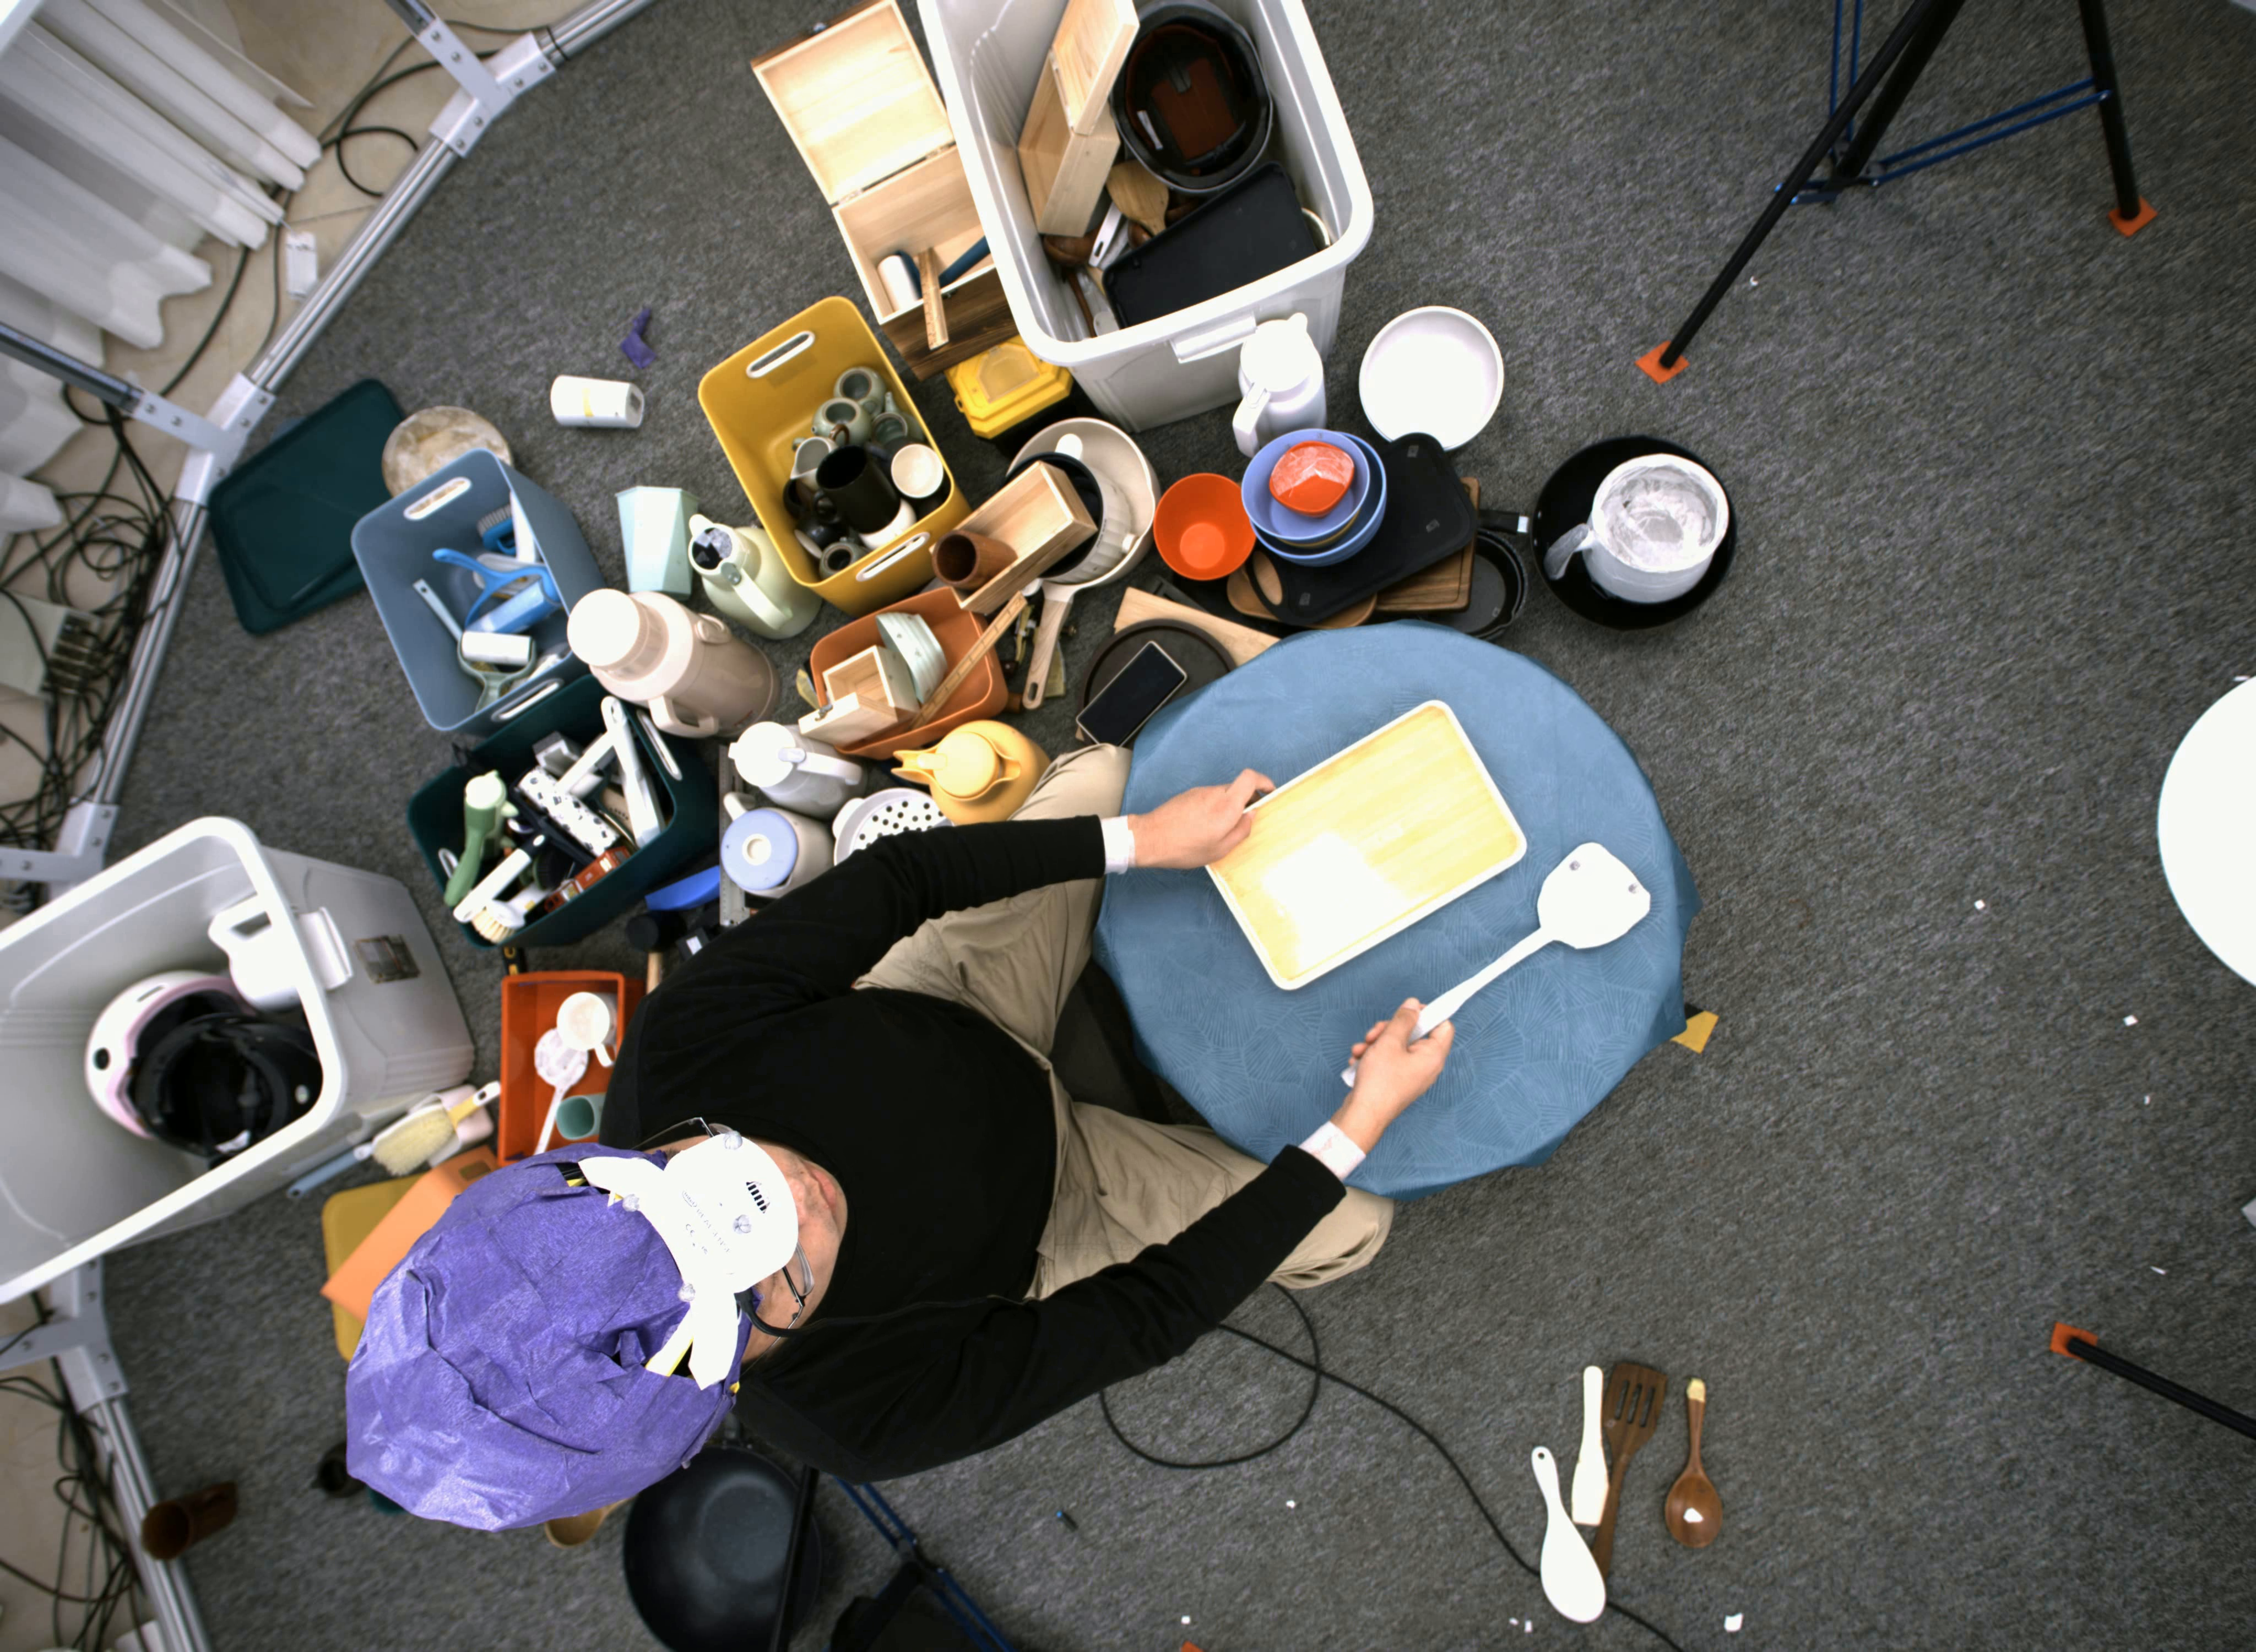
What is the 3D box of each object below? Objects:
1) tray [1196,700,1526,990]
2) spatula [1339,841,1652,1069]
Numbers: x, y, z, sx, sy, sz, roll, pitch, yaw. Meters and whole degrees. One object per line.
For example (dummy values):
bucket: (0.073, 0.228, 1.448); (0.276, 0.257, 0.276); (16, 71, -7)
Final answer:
tray: (0.241, 0.019, 1.437); (0.302, 0.027, 0.192); (-31, 93, 7)
spatula: (0.365, 0.140, 1.381); (0.362, 0.045, 0.097); (-31, 69, -13)
